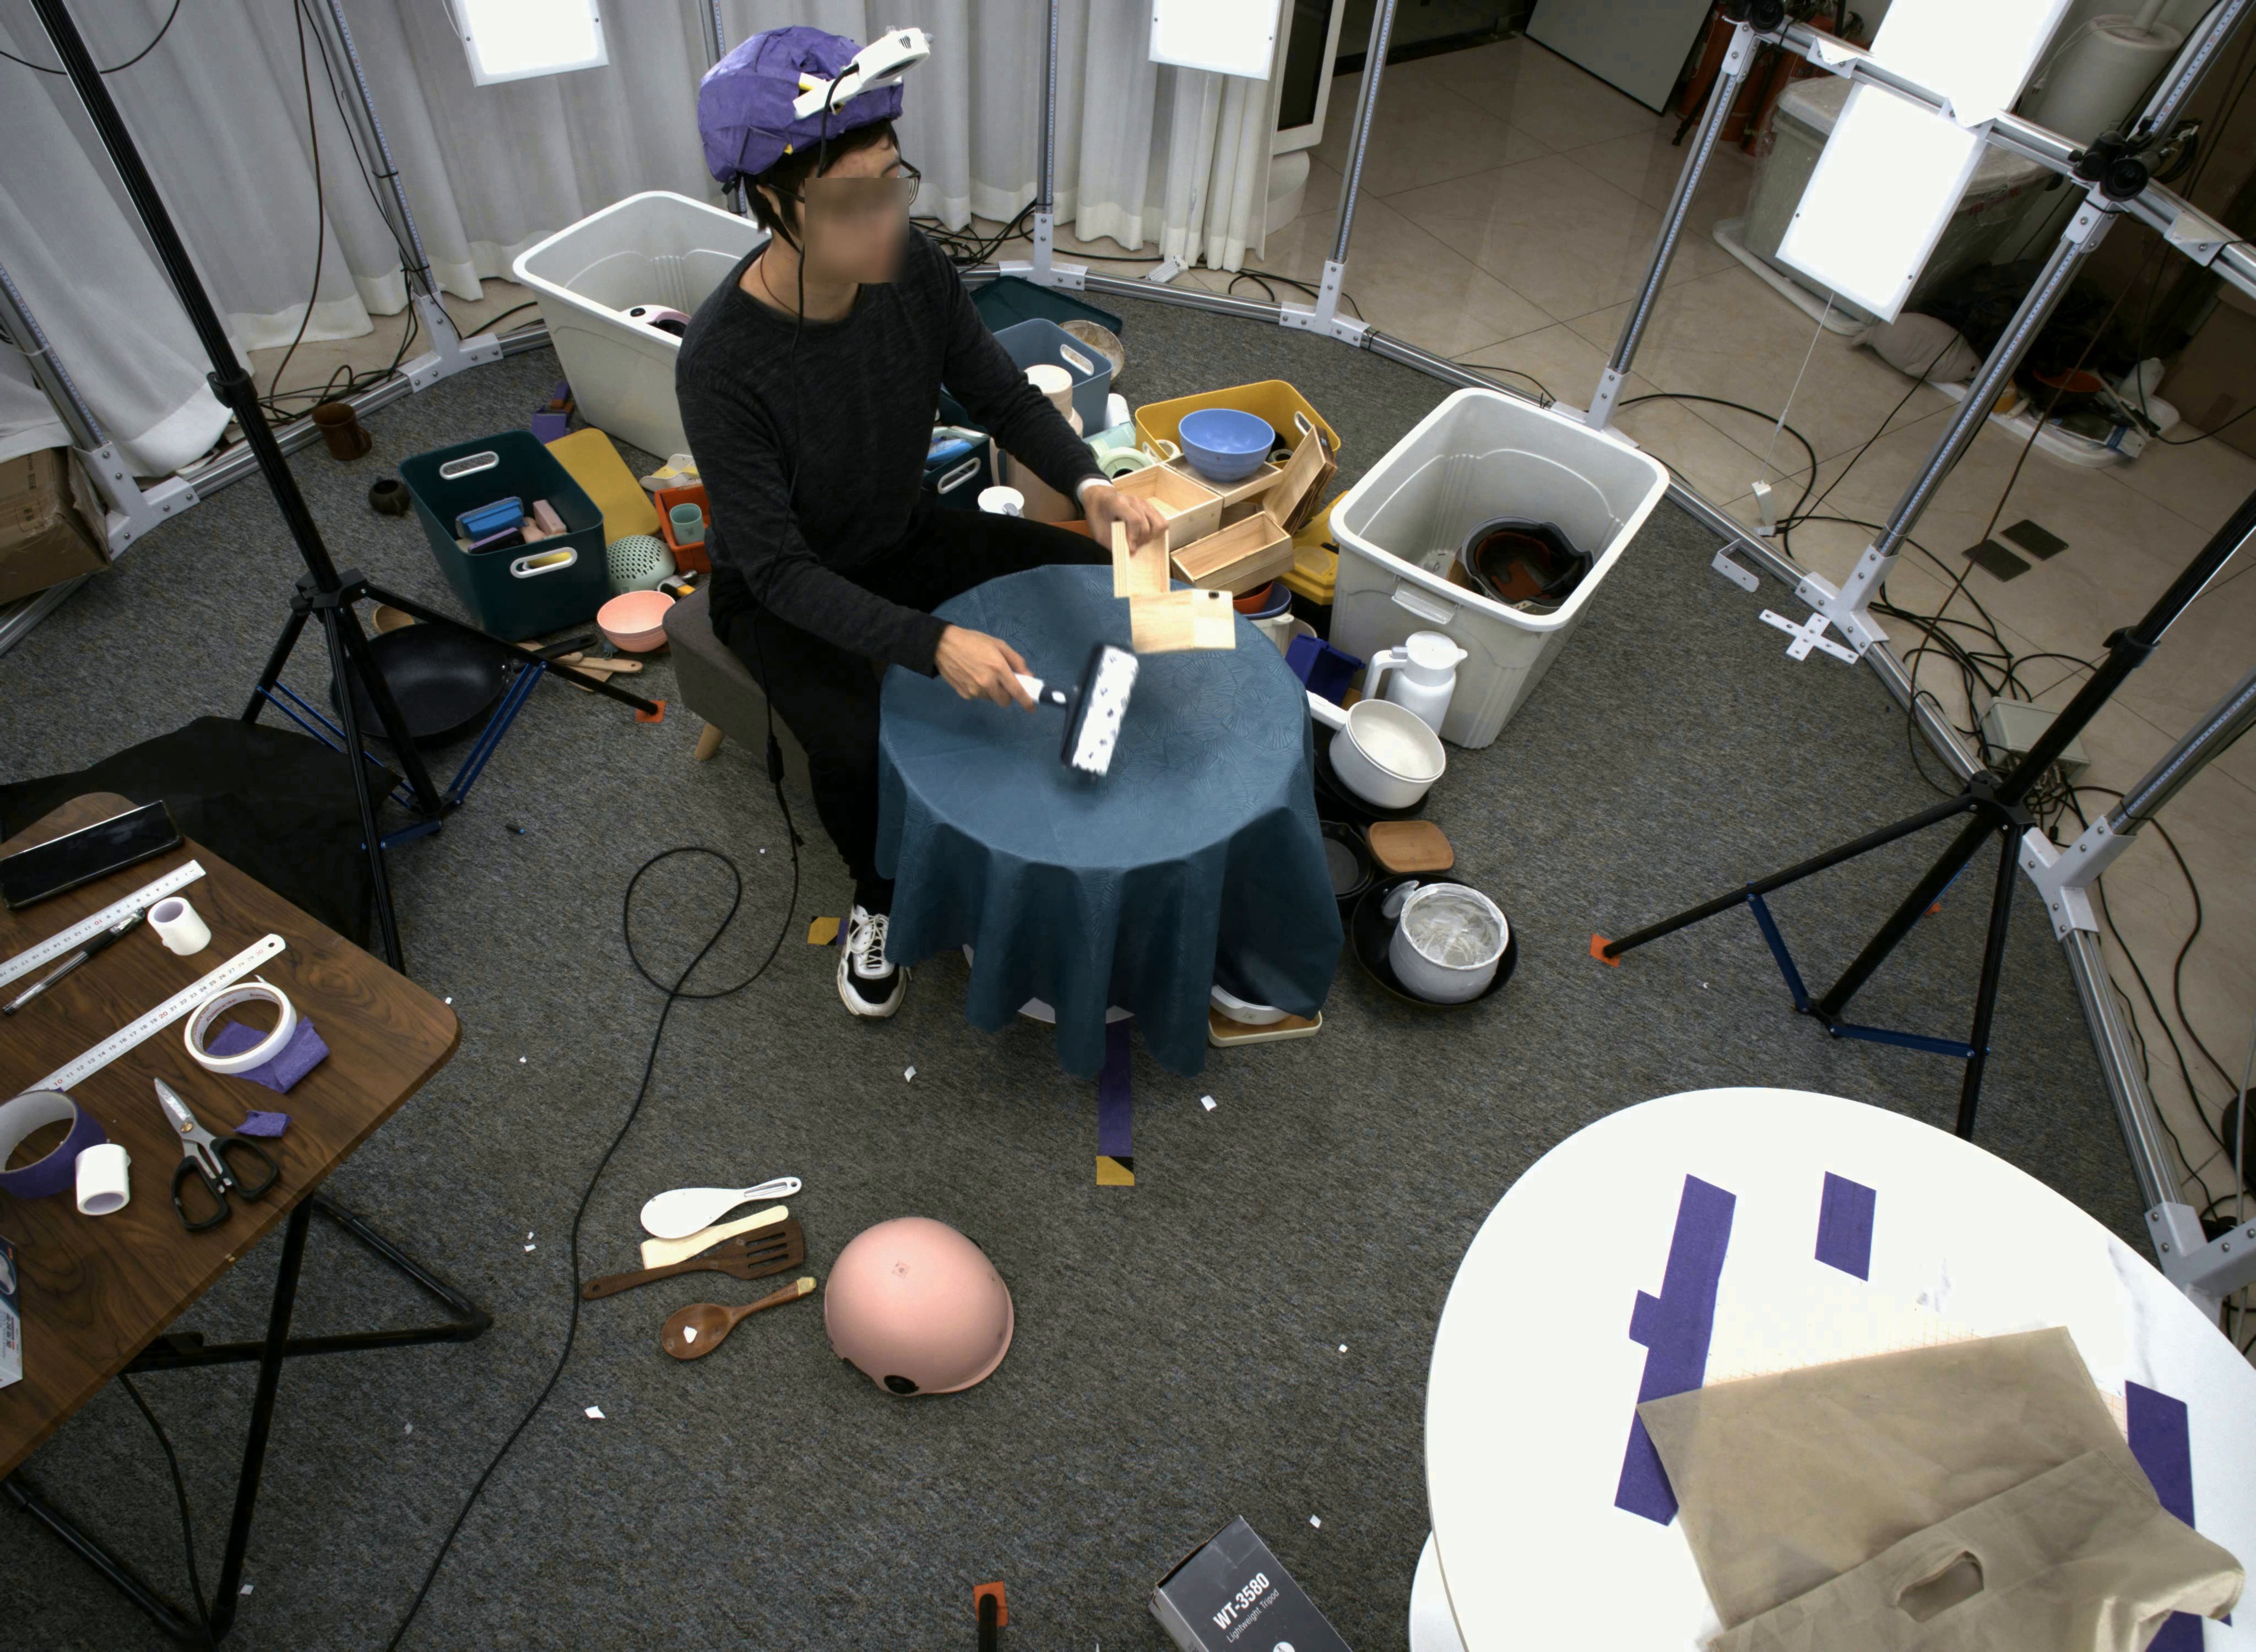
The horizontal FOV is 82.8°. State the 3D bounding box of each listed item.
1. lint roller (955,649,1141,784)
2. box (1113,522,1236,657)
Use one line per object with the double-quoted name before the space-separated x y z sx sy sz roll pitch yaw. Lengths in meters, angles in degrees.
"lint roller" -0.122 -0.173 1.717 0.248 0.050 0.176 18 89 13
"box" 0.065 -0.324 1.741 0.134 0.184 0.102 -2 3 37
